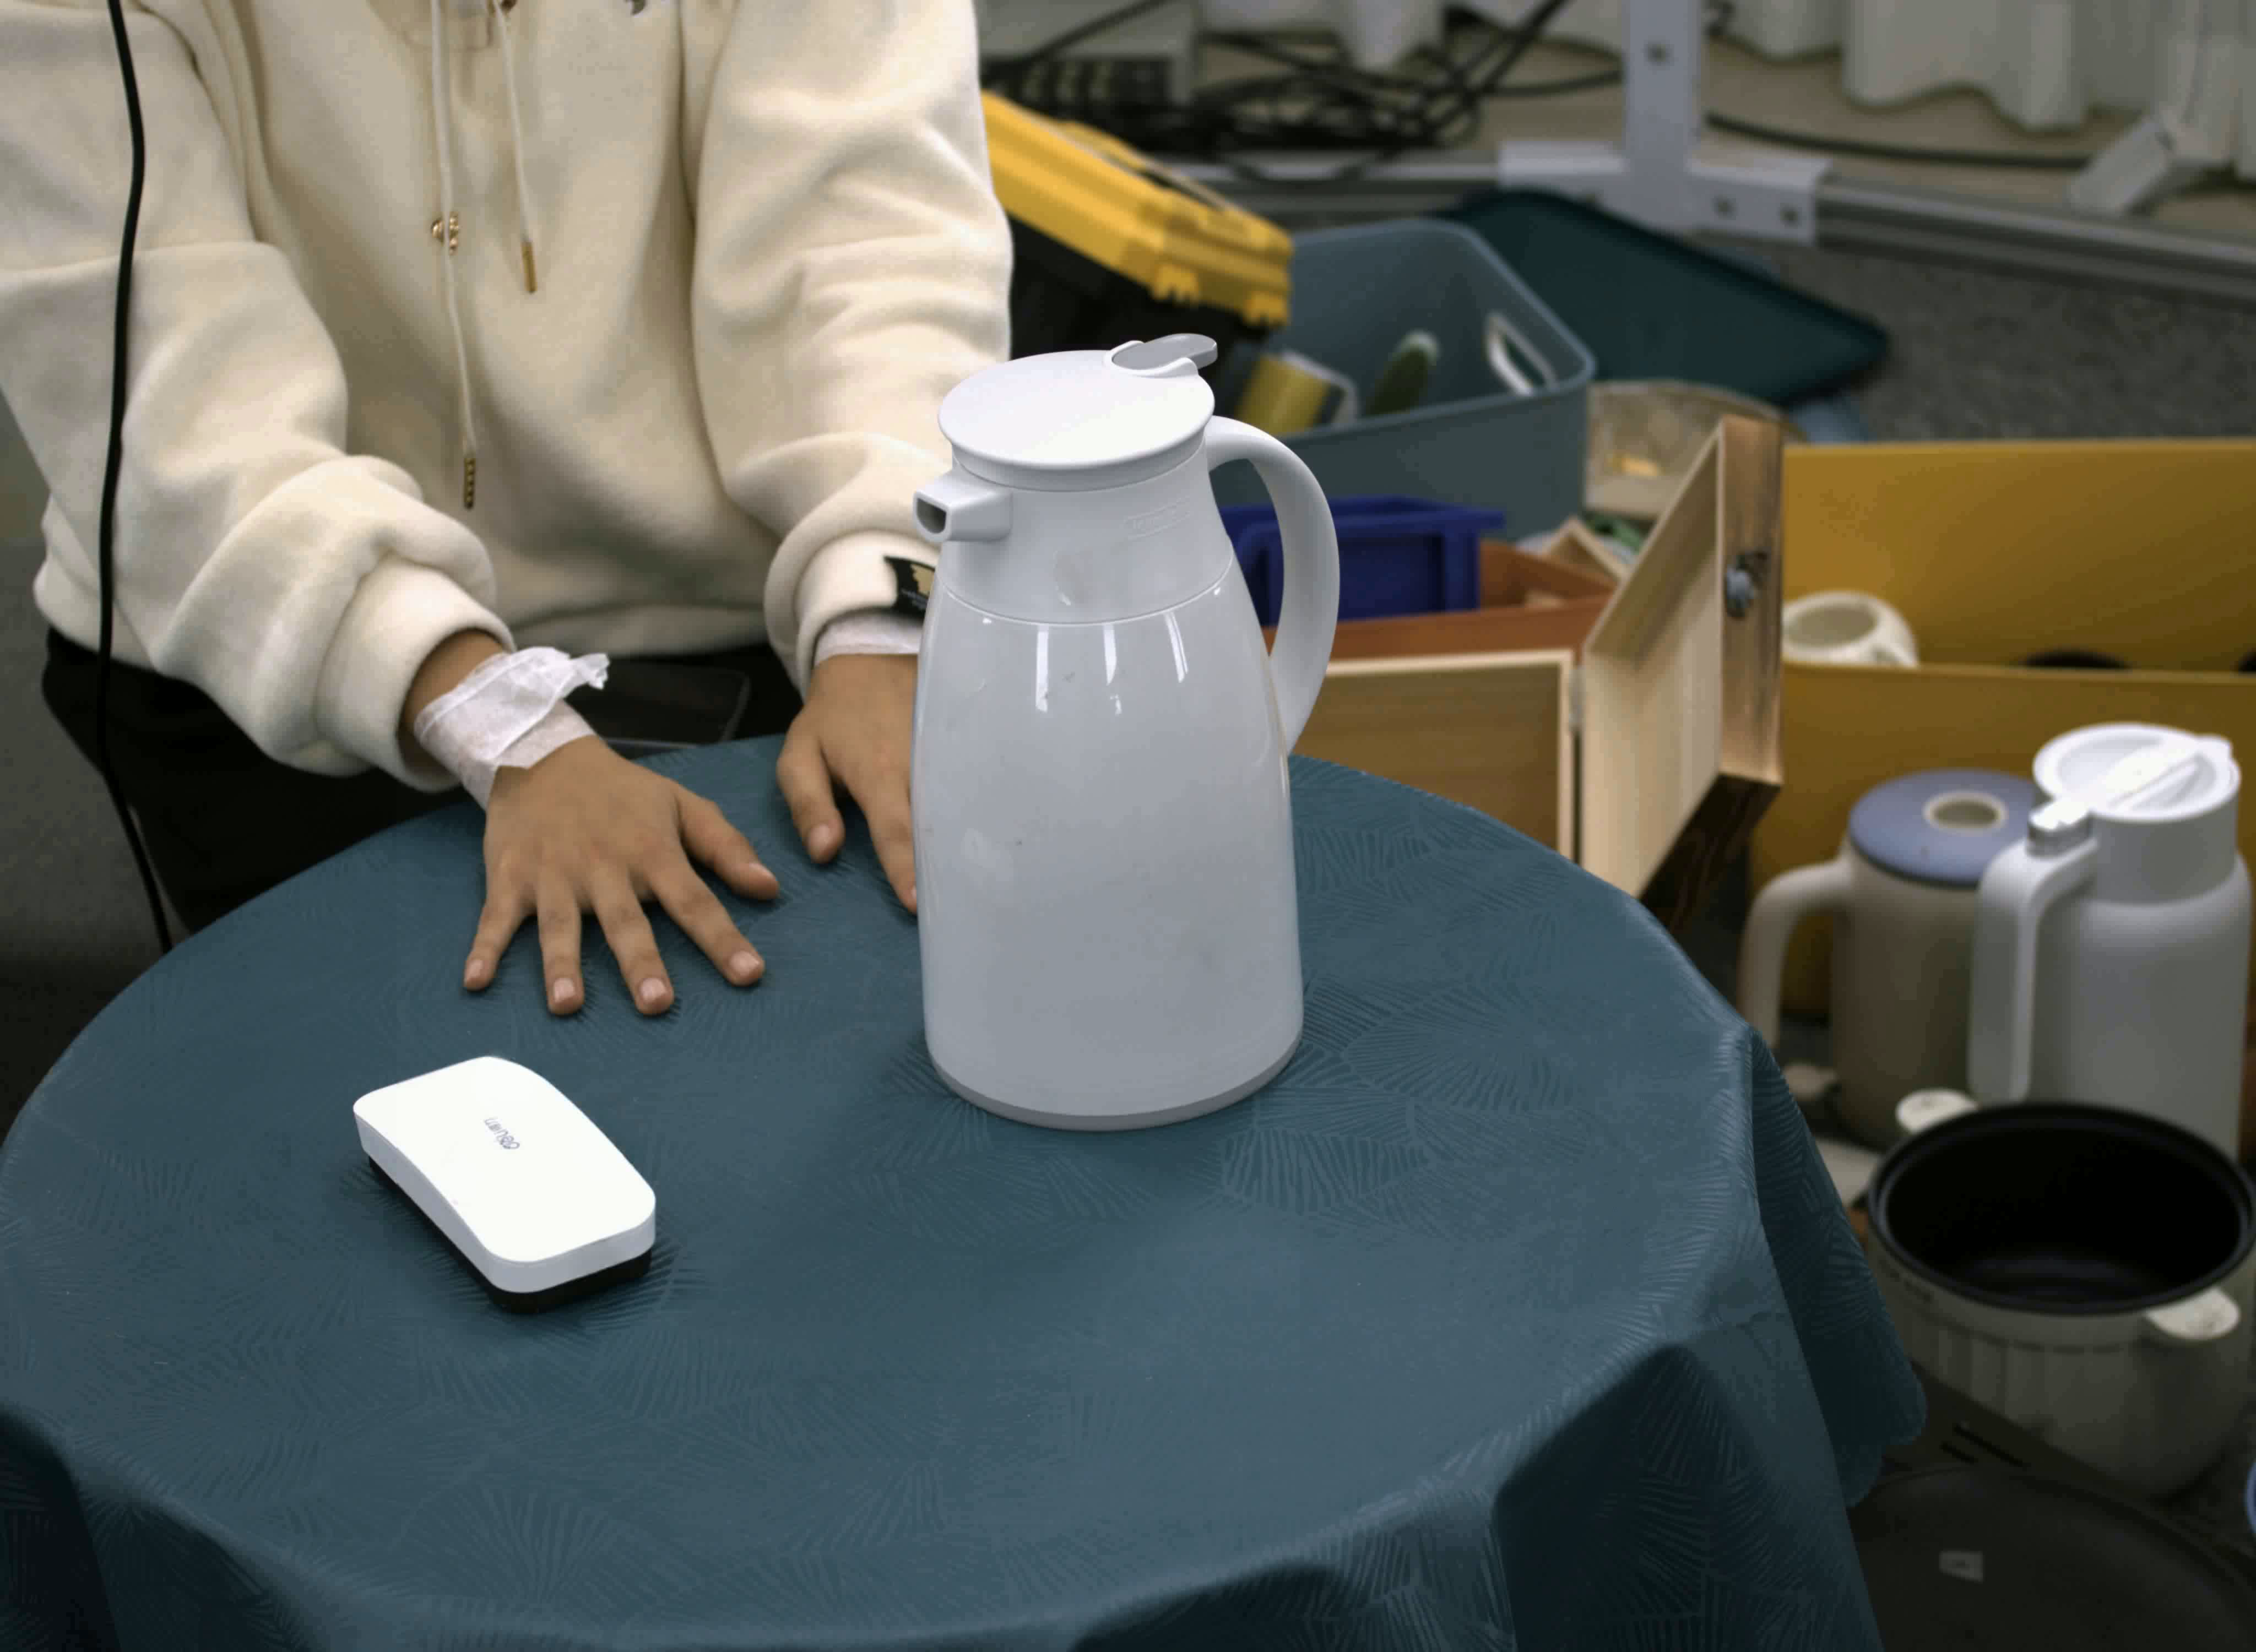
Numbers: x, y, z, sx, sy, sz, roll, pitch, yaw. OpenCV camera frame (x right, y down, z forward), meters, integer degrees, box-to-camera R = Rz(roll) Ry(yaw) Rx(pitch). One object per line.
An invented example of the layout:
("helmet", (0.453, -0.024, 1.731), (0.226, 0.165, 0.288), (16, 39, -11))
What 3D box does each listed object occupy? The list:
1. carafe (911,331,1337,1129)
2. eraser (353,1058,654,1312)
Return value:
("carafe", (0.003, -0.044, 1.913), (0.169, 0.246, 0.132), (-23, 32, -35))
("eraser", (-0.206, 0.115, 1.860), (0.064, 0.034, 0.132), (-15, 30, -26))
